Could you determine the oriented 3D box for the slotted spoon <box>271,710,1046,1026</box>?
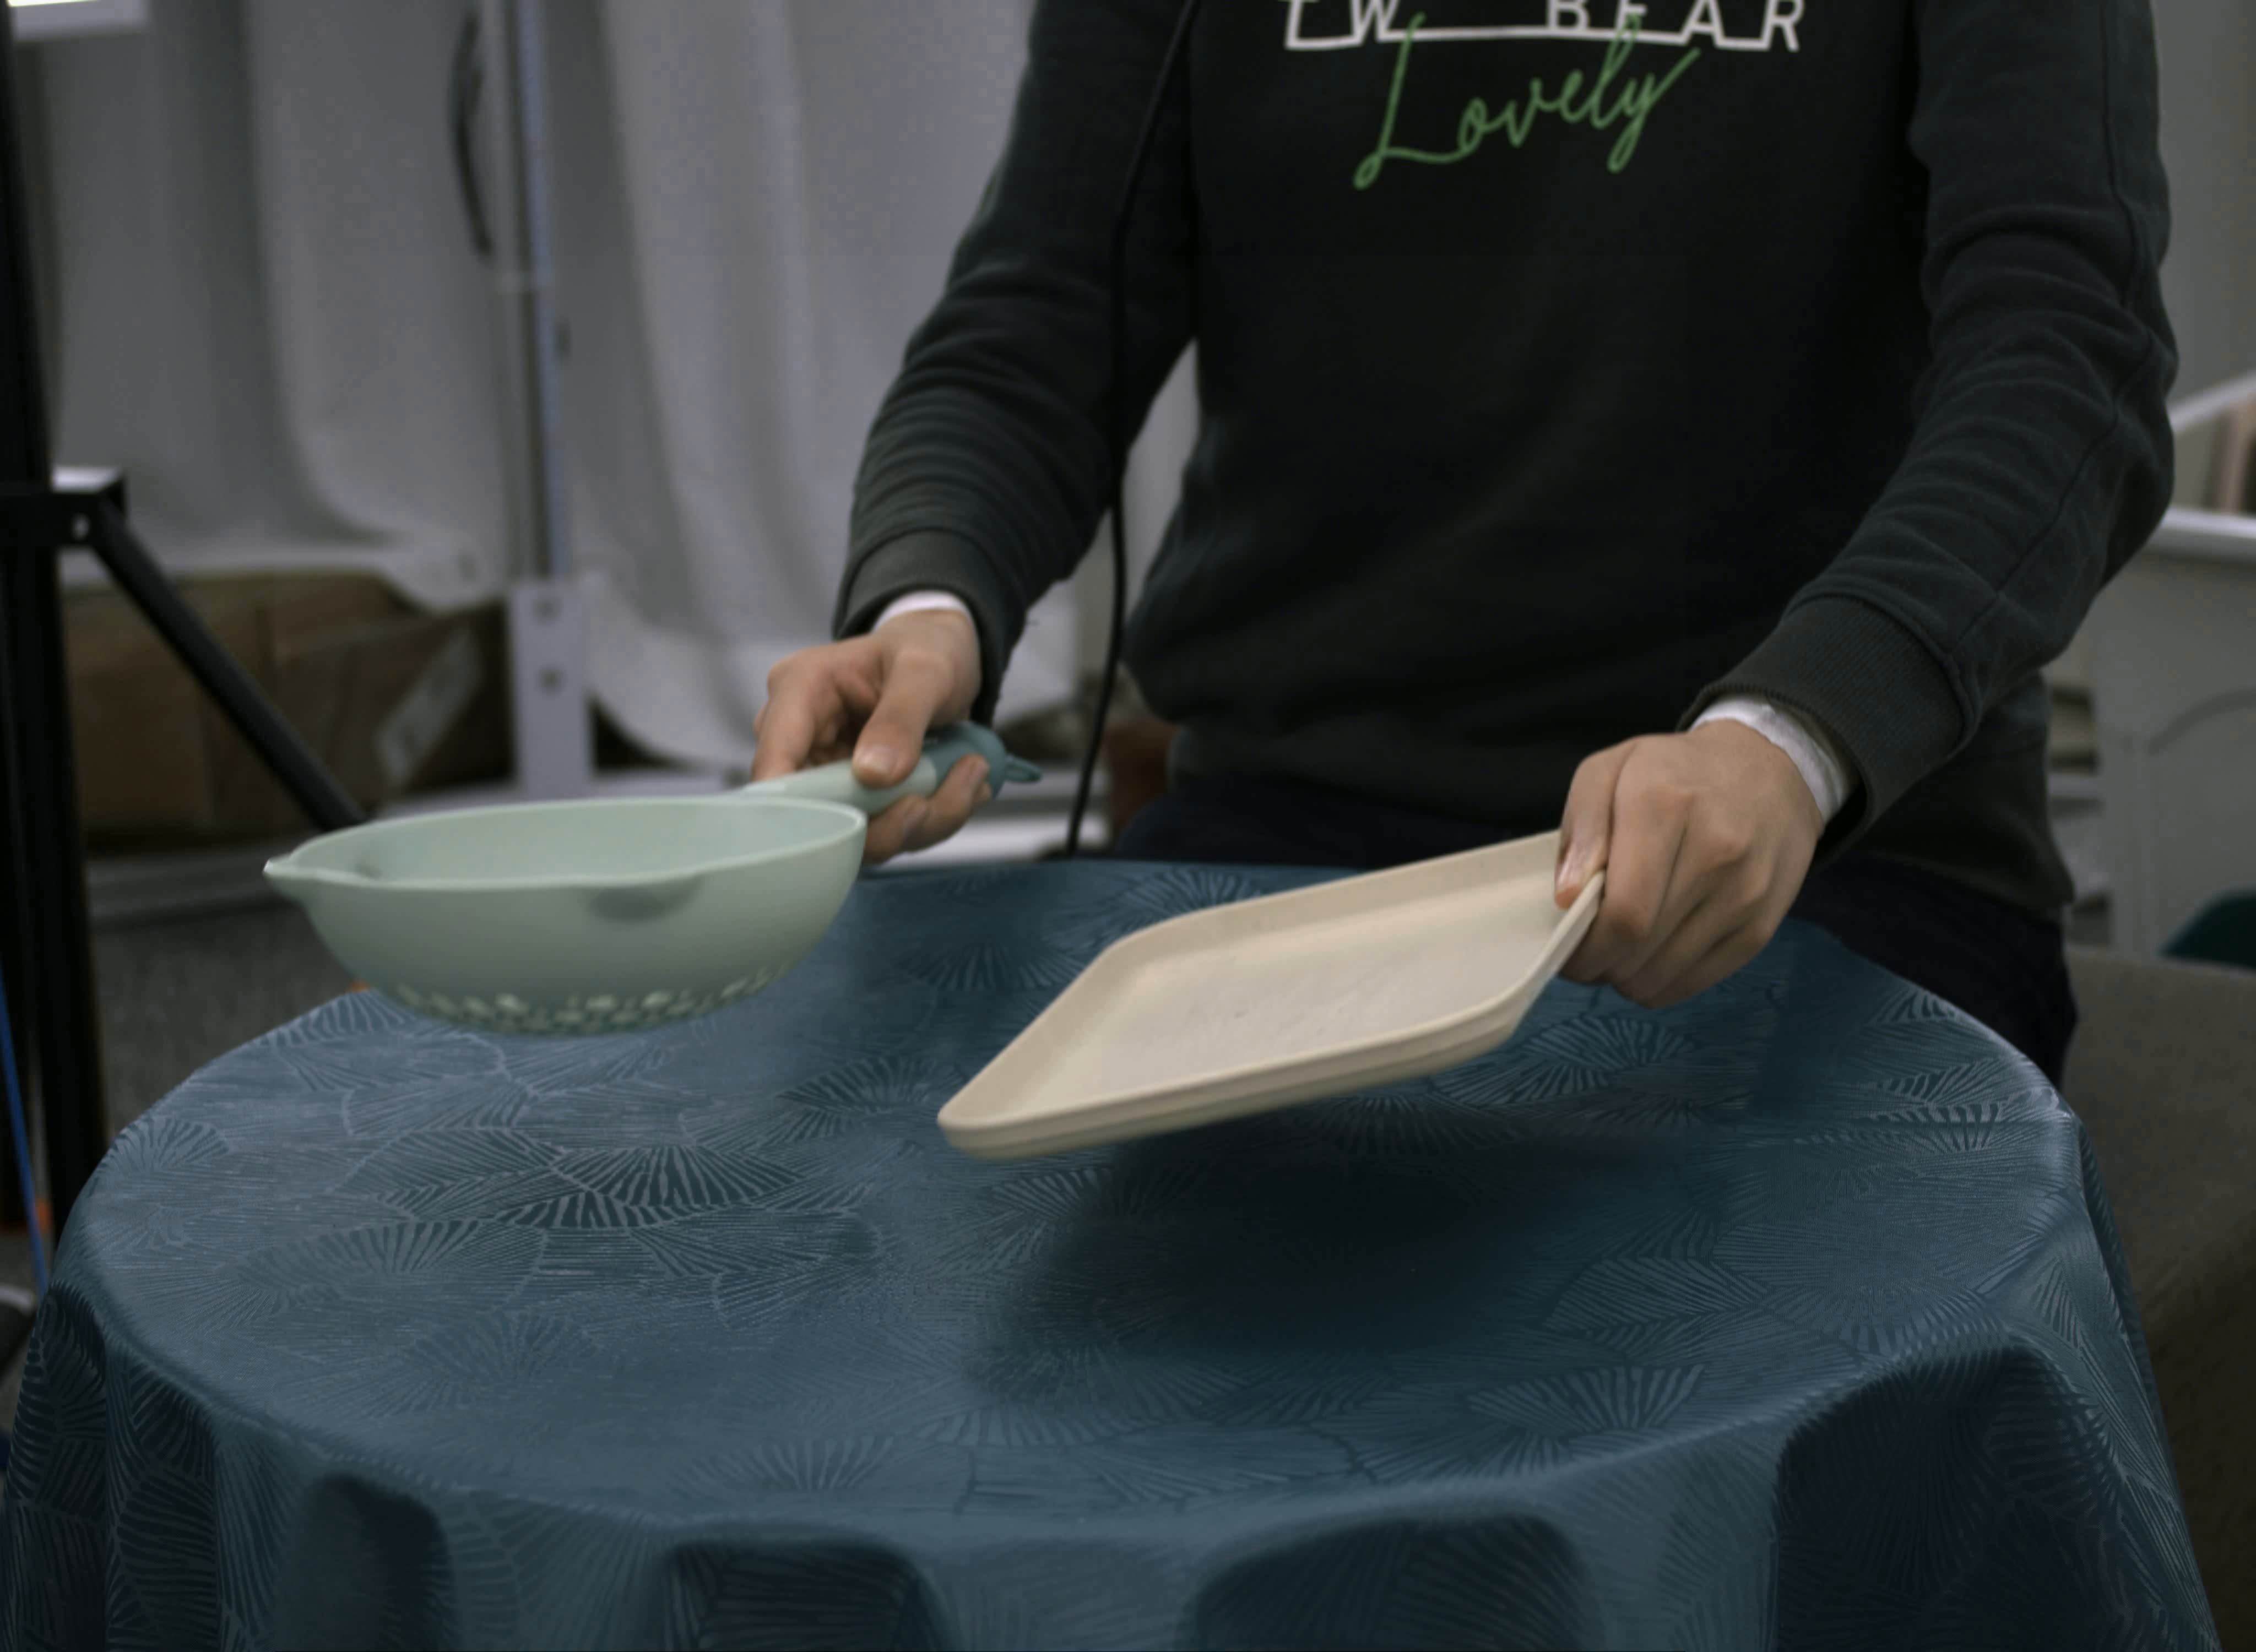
[{"bbox_3d":[-0.115,-0.003,1.647,0.172,0.075,0.353,1,17,27],"label":"slotted spoon"}]

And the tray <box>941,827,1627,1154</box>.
[{"bbox_3d":[0.050,0.047,1.514,0.172,0.017,0.237,-13,9,17],"label":"tray"}]
